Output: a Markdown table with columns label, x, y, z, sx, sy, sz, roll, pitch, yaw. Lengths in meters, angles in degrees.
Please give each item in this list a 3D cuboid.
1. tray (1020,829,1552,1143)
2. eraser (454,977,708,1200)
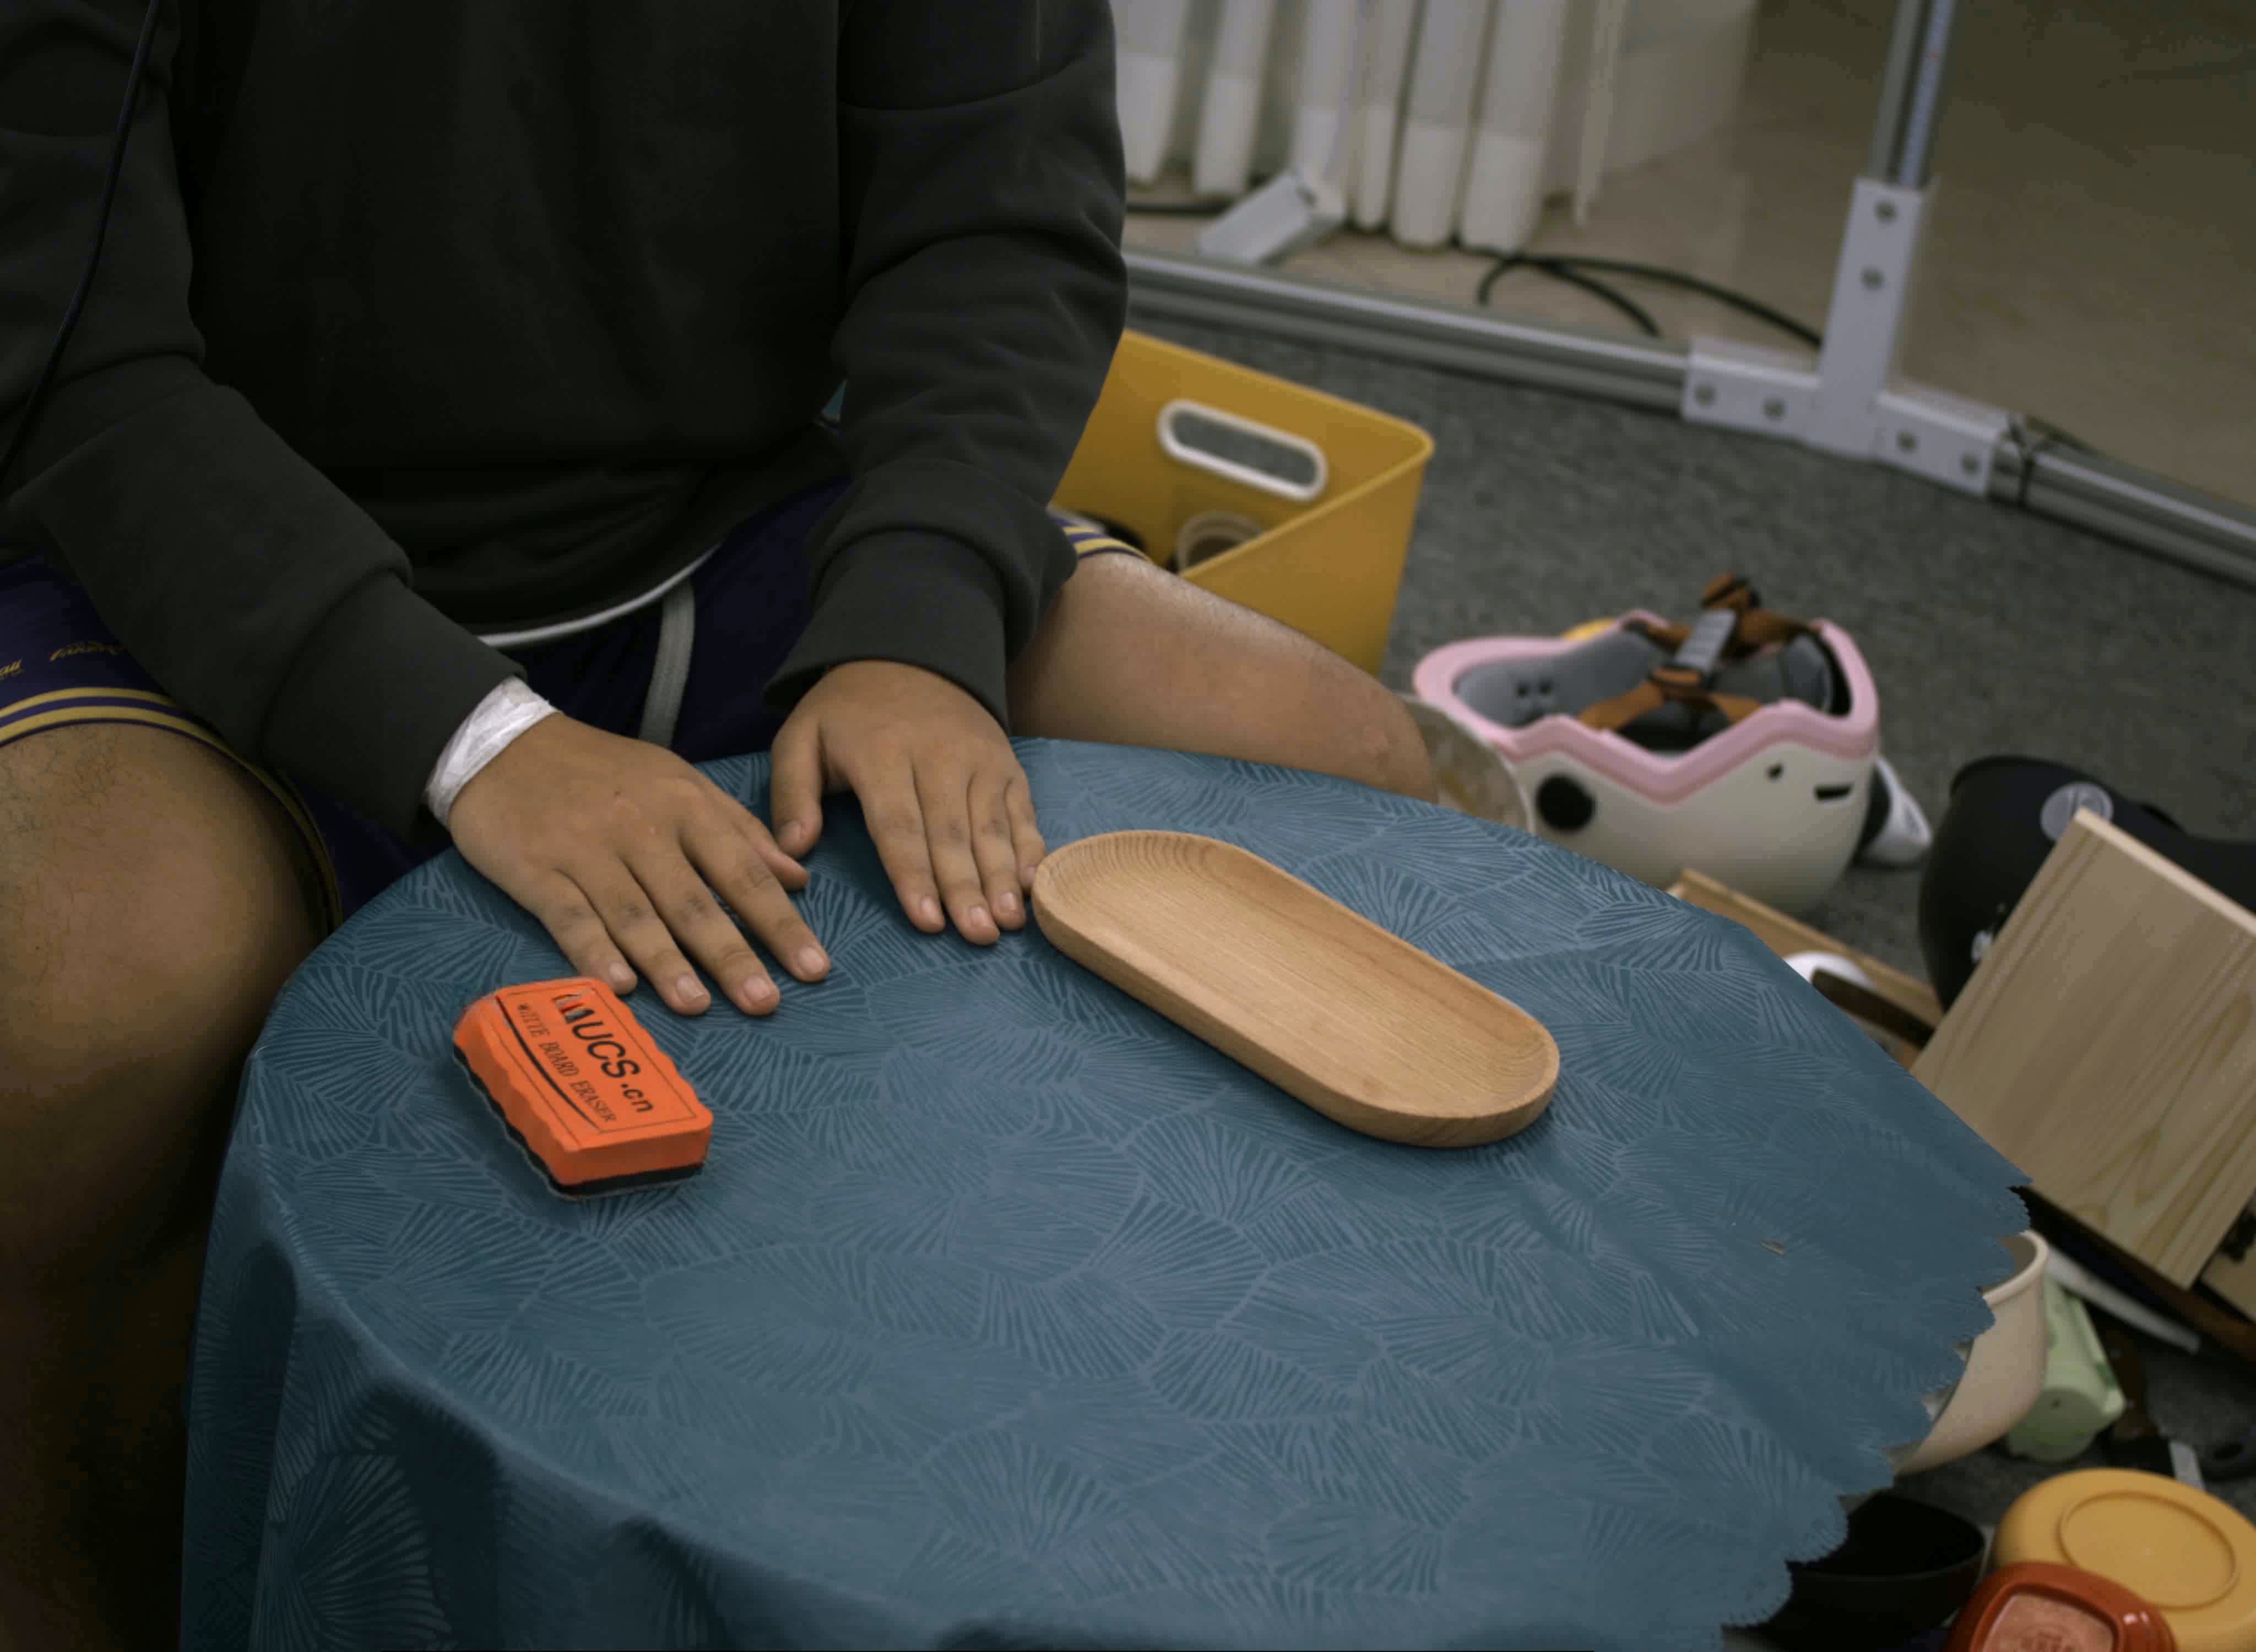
| label | x | y | z | sx | sy | sz | roll | pitch | yaw |
| --- | --- | --- | --- | --- | --- | --- | --- | --- | --- |
| tray | 0.055 | 0.056 | 1.928 | 0.101 | 0.020 | 0.233 | -18 | 34 | -41 |
| eraser | -0.186 | 0.088 | 1.803 | 0.058 | 0.023 | 0.109 | -8 | 30 | -25 |
